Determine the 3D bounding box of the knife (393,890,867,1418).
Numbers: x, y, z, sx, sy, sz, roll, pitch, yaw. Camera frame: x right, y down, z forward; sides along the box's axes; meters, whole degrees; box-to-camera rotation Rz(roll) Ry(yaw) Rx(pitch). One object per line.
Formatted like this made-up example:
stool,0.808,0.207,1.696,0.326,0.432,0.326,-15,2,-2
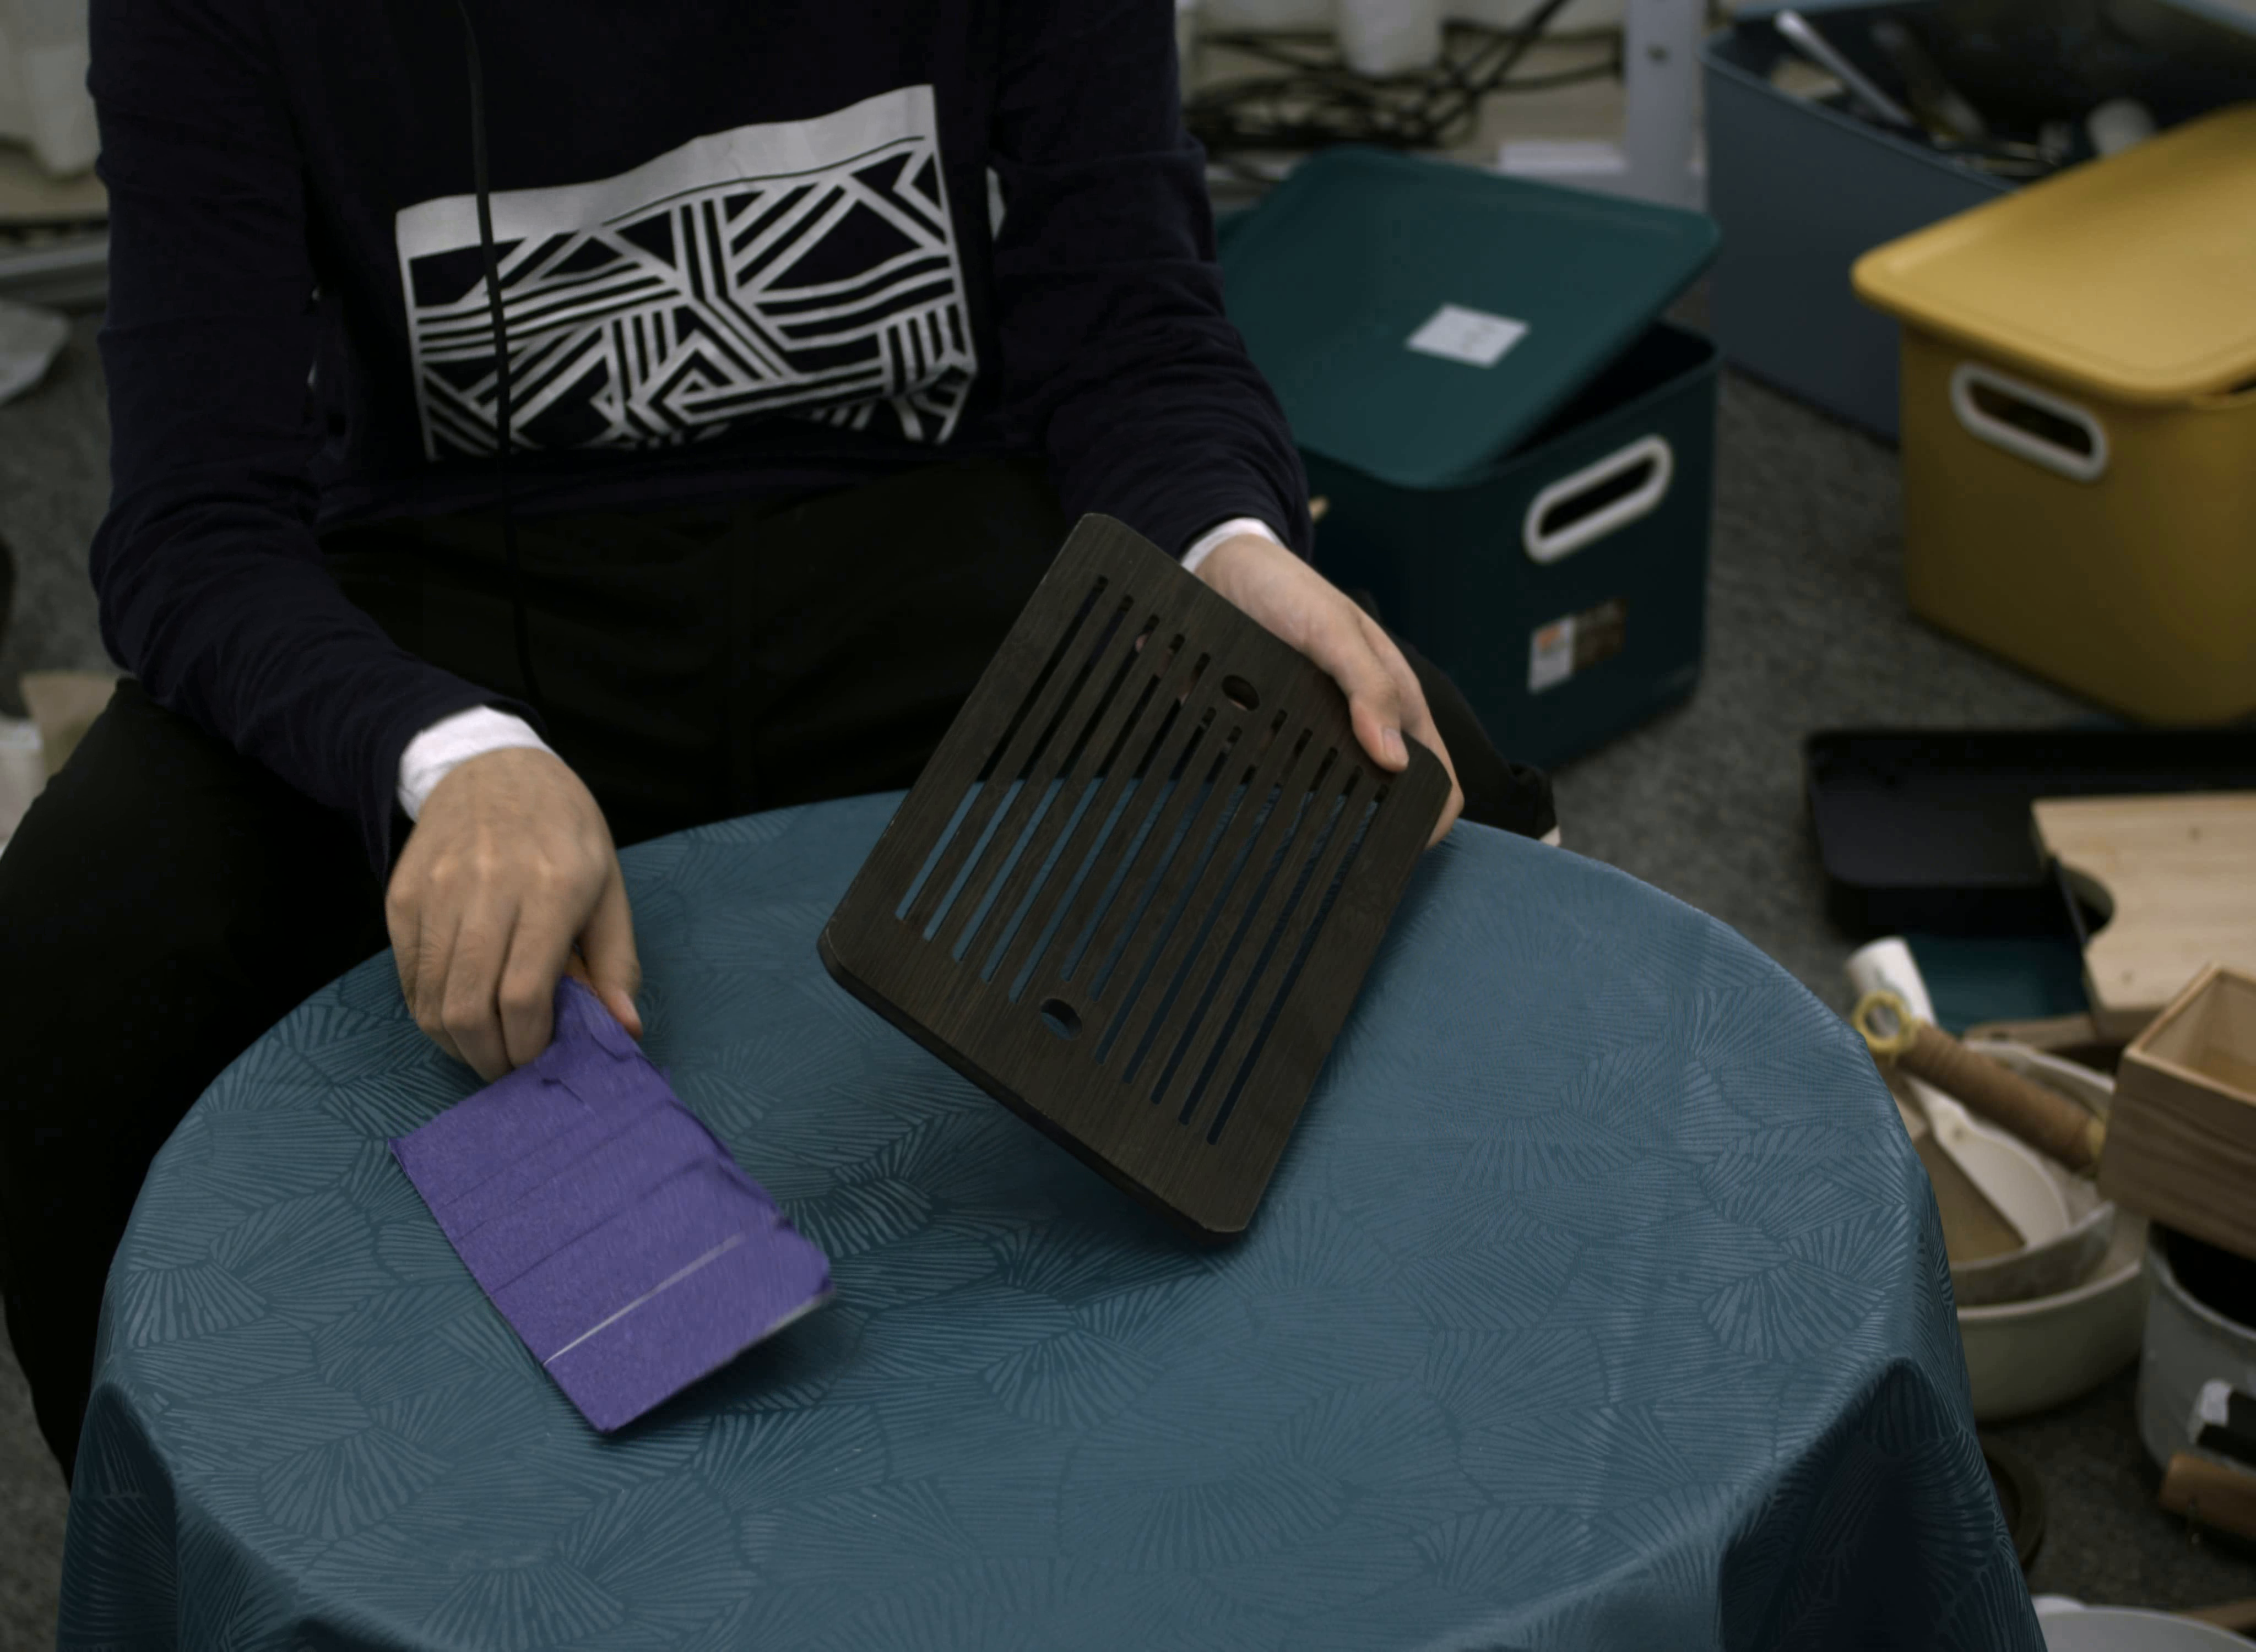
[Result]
knife,-0.192,0.105,1.871,0.104,0.032,0.317,-28,30,-14

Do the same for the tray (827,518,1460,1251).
tray,0.010,0.016,1.938,0.170,0.018,0.311,36,35,-4
